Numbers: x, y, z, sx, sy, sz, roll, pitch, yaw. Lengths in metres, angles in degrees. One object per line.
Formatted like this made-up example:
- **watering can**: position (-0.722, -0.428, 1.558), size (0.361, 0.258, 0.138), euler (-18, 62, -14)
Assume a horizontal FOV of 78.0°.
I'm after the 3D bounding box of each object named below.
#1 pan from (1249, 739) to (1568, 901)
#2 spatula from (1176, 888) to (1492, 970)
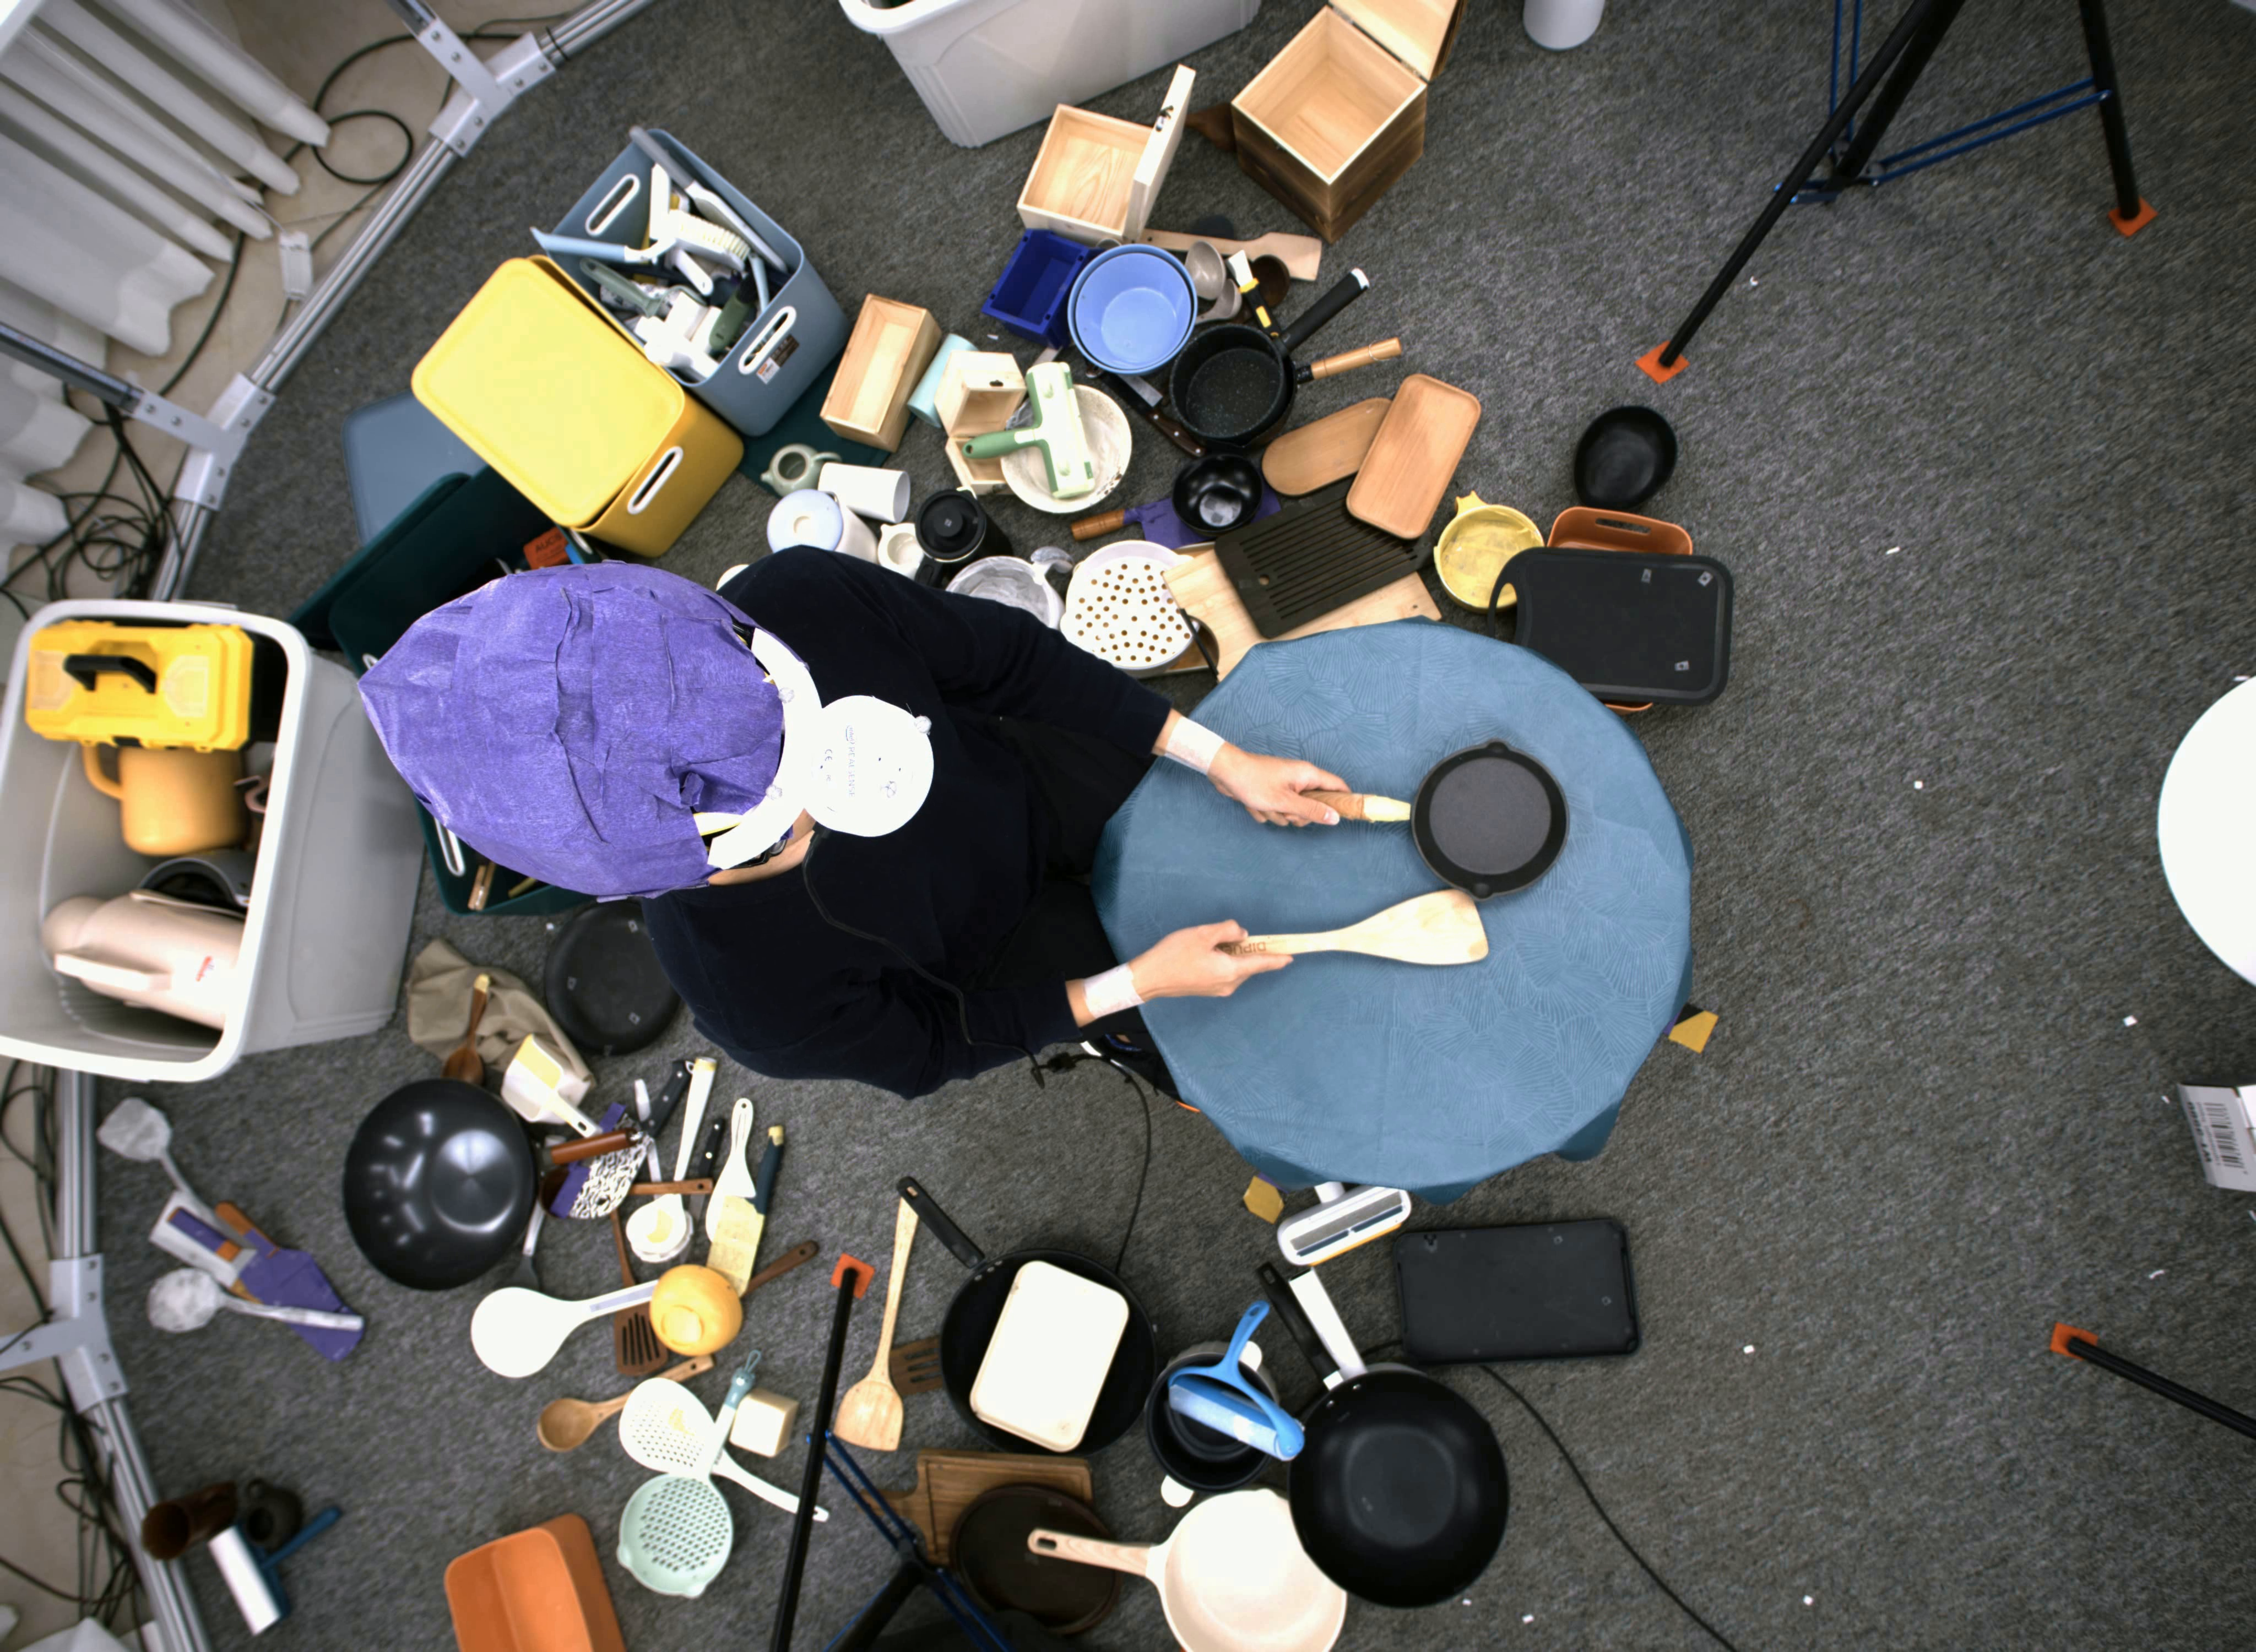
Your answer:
- **pan**: position (0.287, -0.019, 1.420), size (0.325, 0.049, 0.171), euler (8, 105, 12)
- **spatula**: position (0.211, 0.116, 1.423), size (0.327, 0.016, 0.079), euler (-6, 83, -5)
